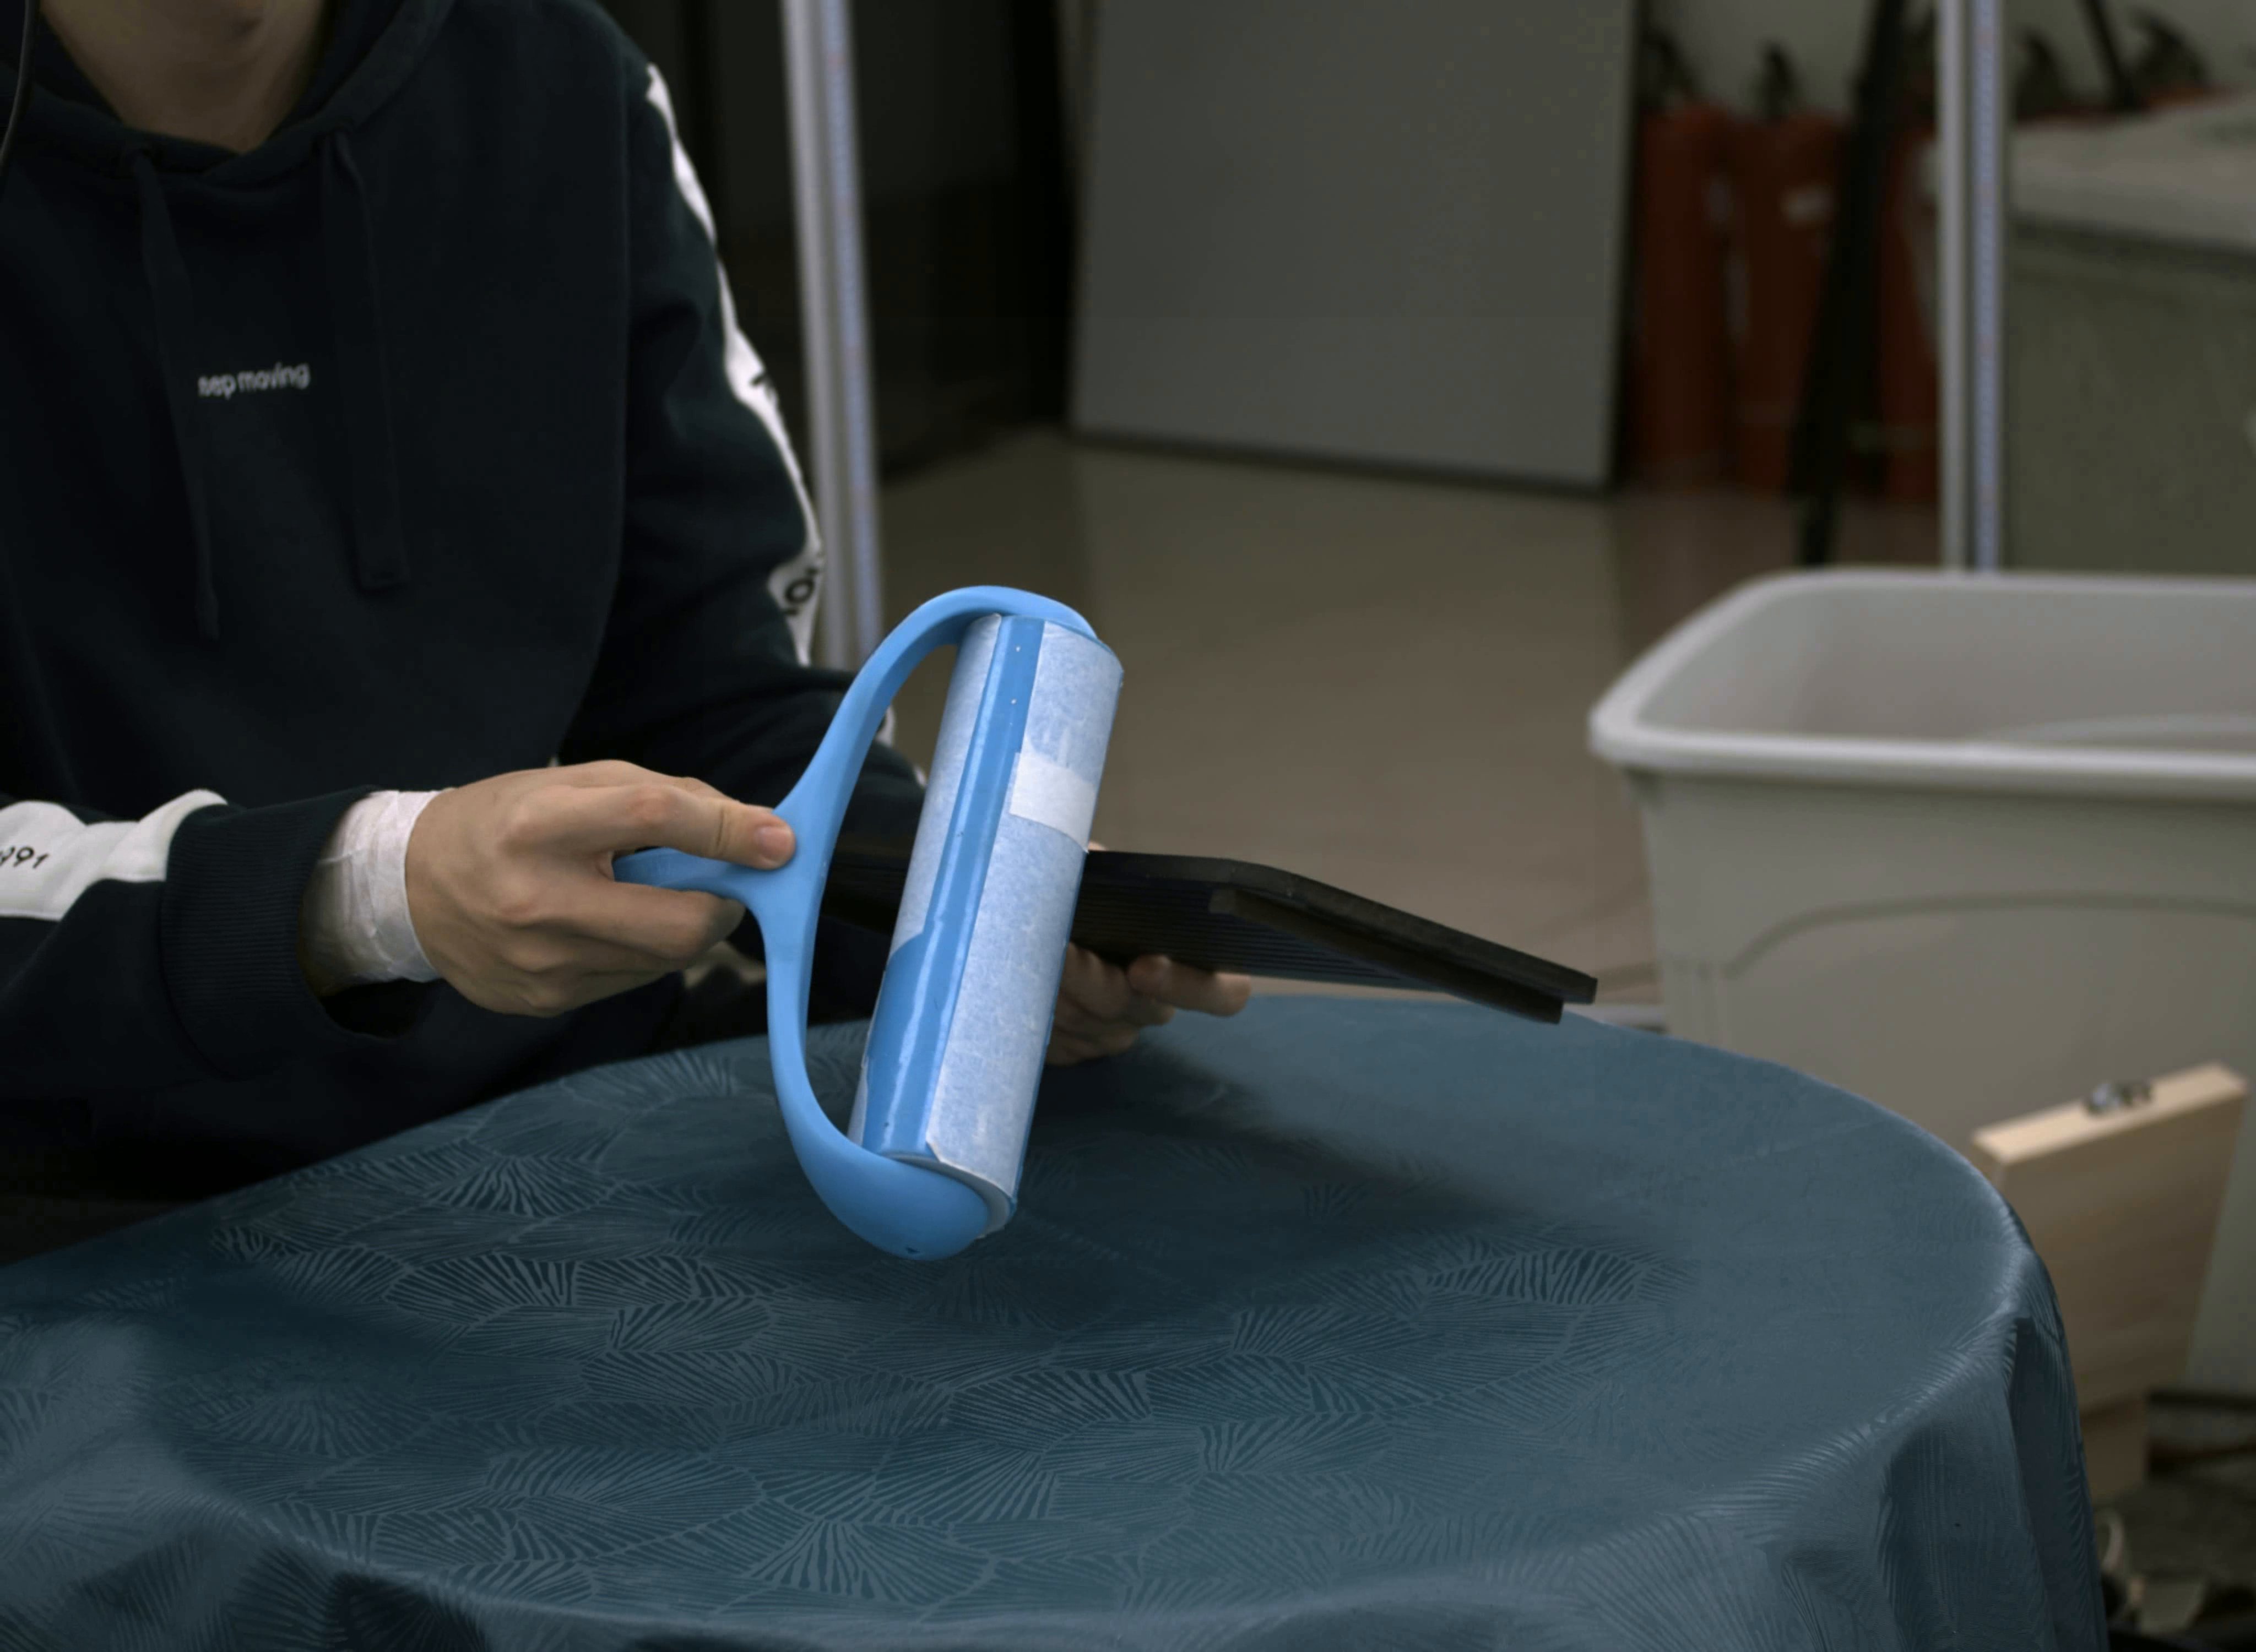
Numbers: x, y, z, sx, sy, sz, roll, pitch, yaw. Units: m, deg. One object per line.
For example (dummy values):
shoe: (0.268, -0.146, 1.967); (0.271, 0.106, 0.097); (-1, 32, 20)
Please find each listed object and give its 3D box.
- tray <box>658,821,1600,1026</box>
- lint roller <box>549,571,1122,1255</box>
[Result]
tray: (-0.005, 0.032, 1.777); (0.166, 0.019, 0.309); (20, -12, -40)
lint roller: (-0.100, 0.025, 1.649); (0.179, 0.231, 0.067); (-1, -31, 15)
